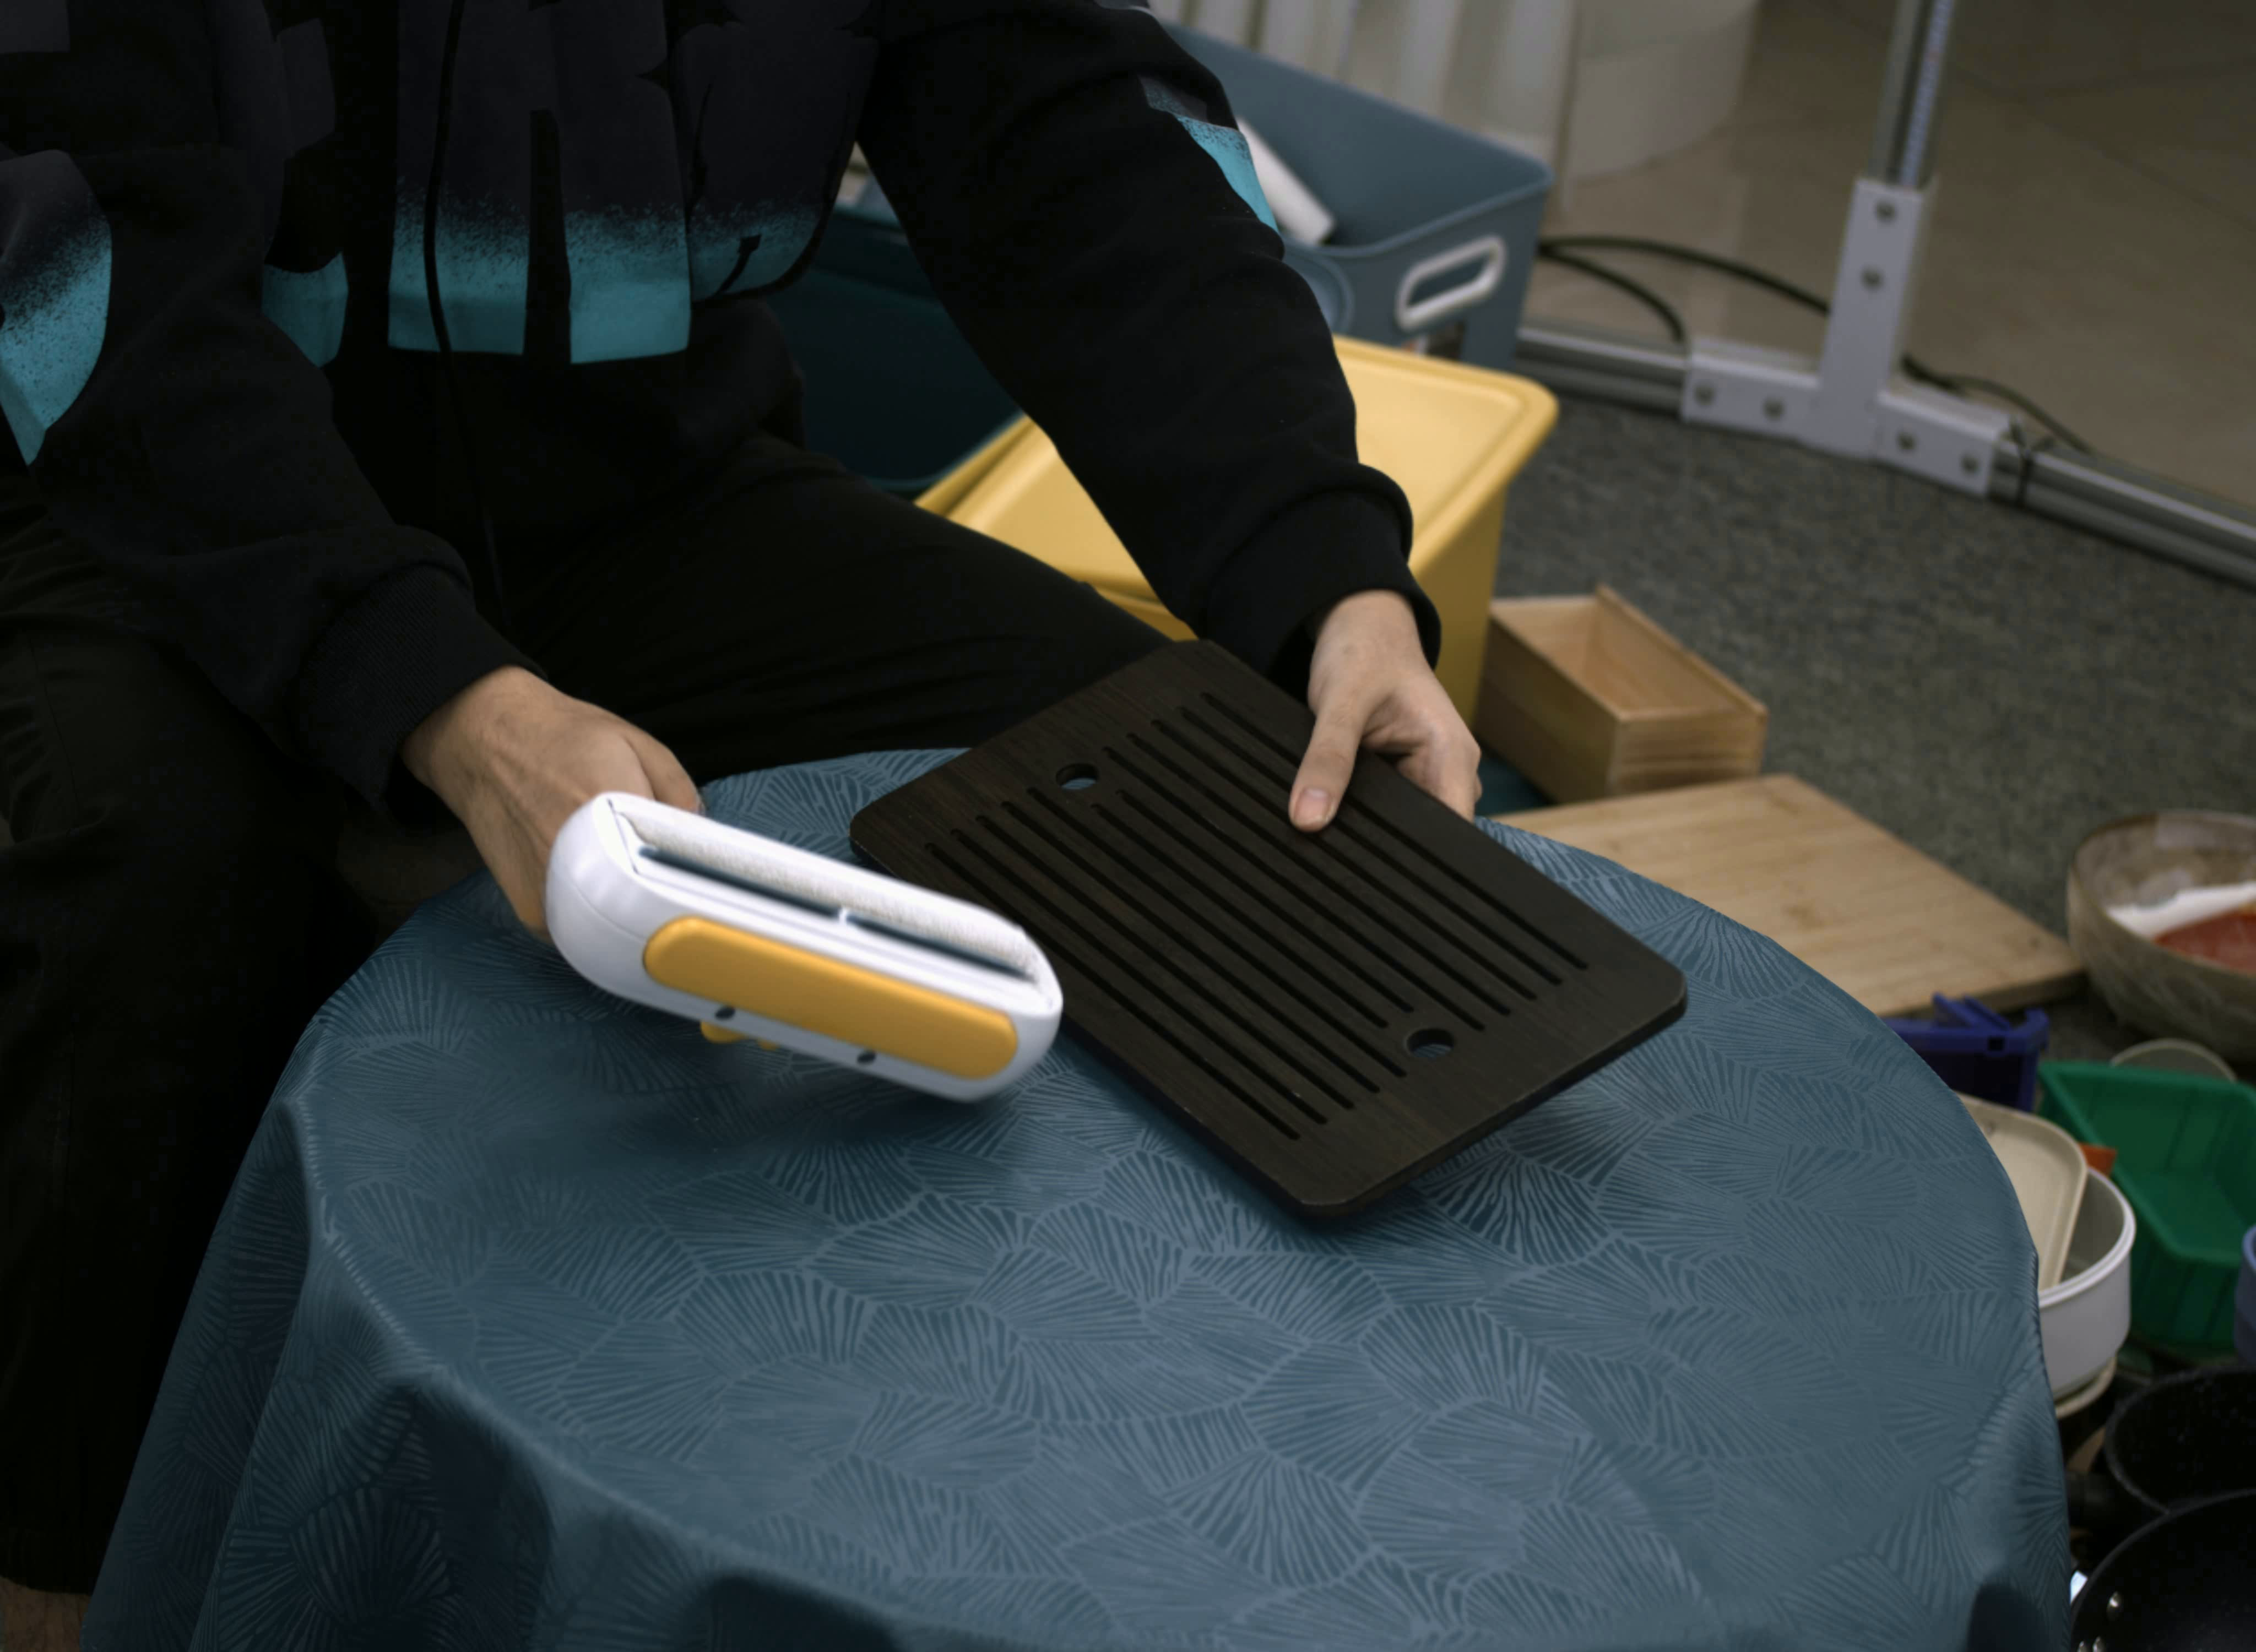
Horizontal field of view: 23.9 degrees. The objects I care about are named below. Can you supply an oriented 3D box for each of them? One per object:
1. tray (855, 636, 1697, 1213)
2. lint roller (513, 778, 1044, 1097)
[{"bbox_3d":[0.048,0.032,1.918,0.169,0.018,0.308,-29,40,-22],"label":"tray"},{"bbox_3d":[-0.138,0.020,1.843,0.191,0.074,0.194,15,19,-26],"label":"lint roller"}]
